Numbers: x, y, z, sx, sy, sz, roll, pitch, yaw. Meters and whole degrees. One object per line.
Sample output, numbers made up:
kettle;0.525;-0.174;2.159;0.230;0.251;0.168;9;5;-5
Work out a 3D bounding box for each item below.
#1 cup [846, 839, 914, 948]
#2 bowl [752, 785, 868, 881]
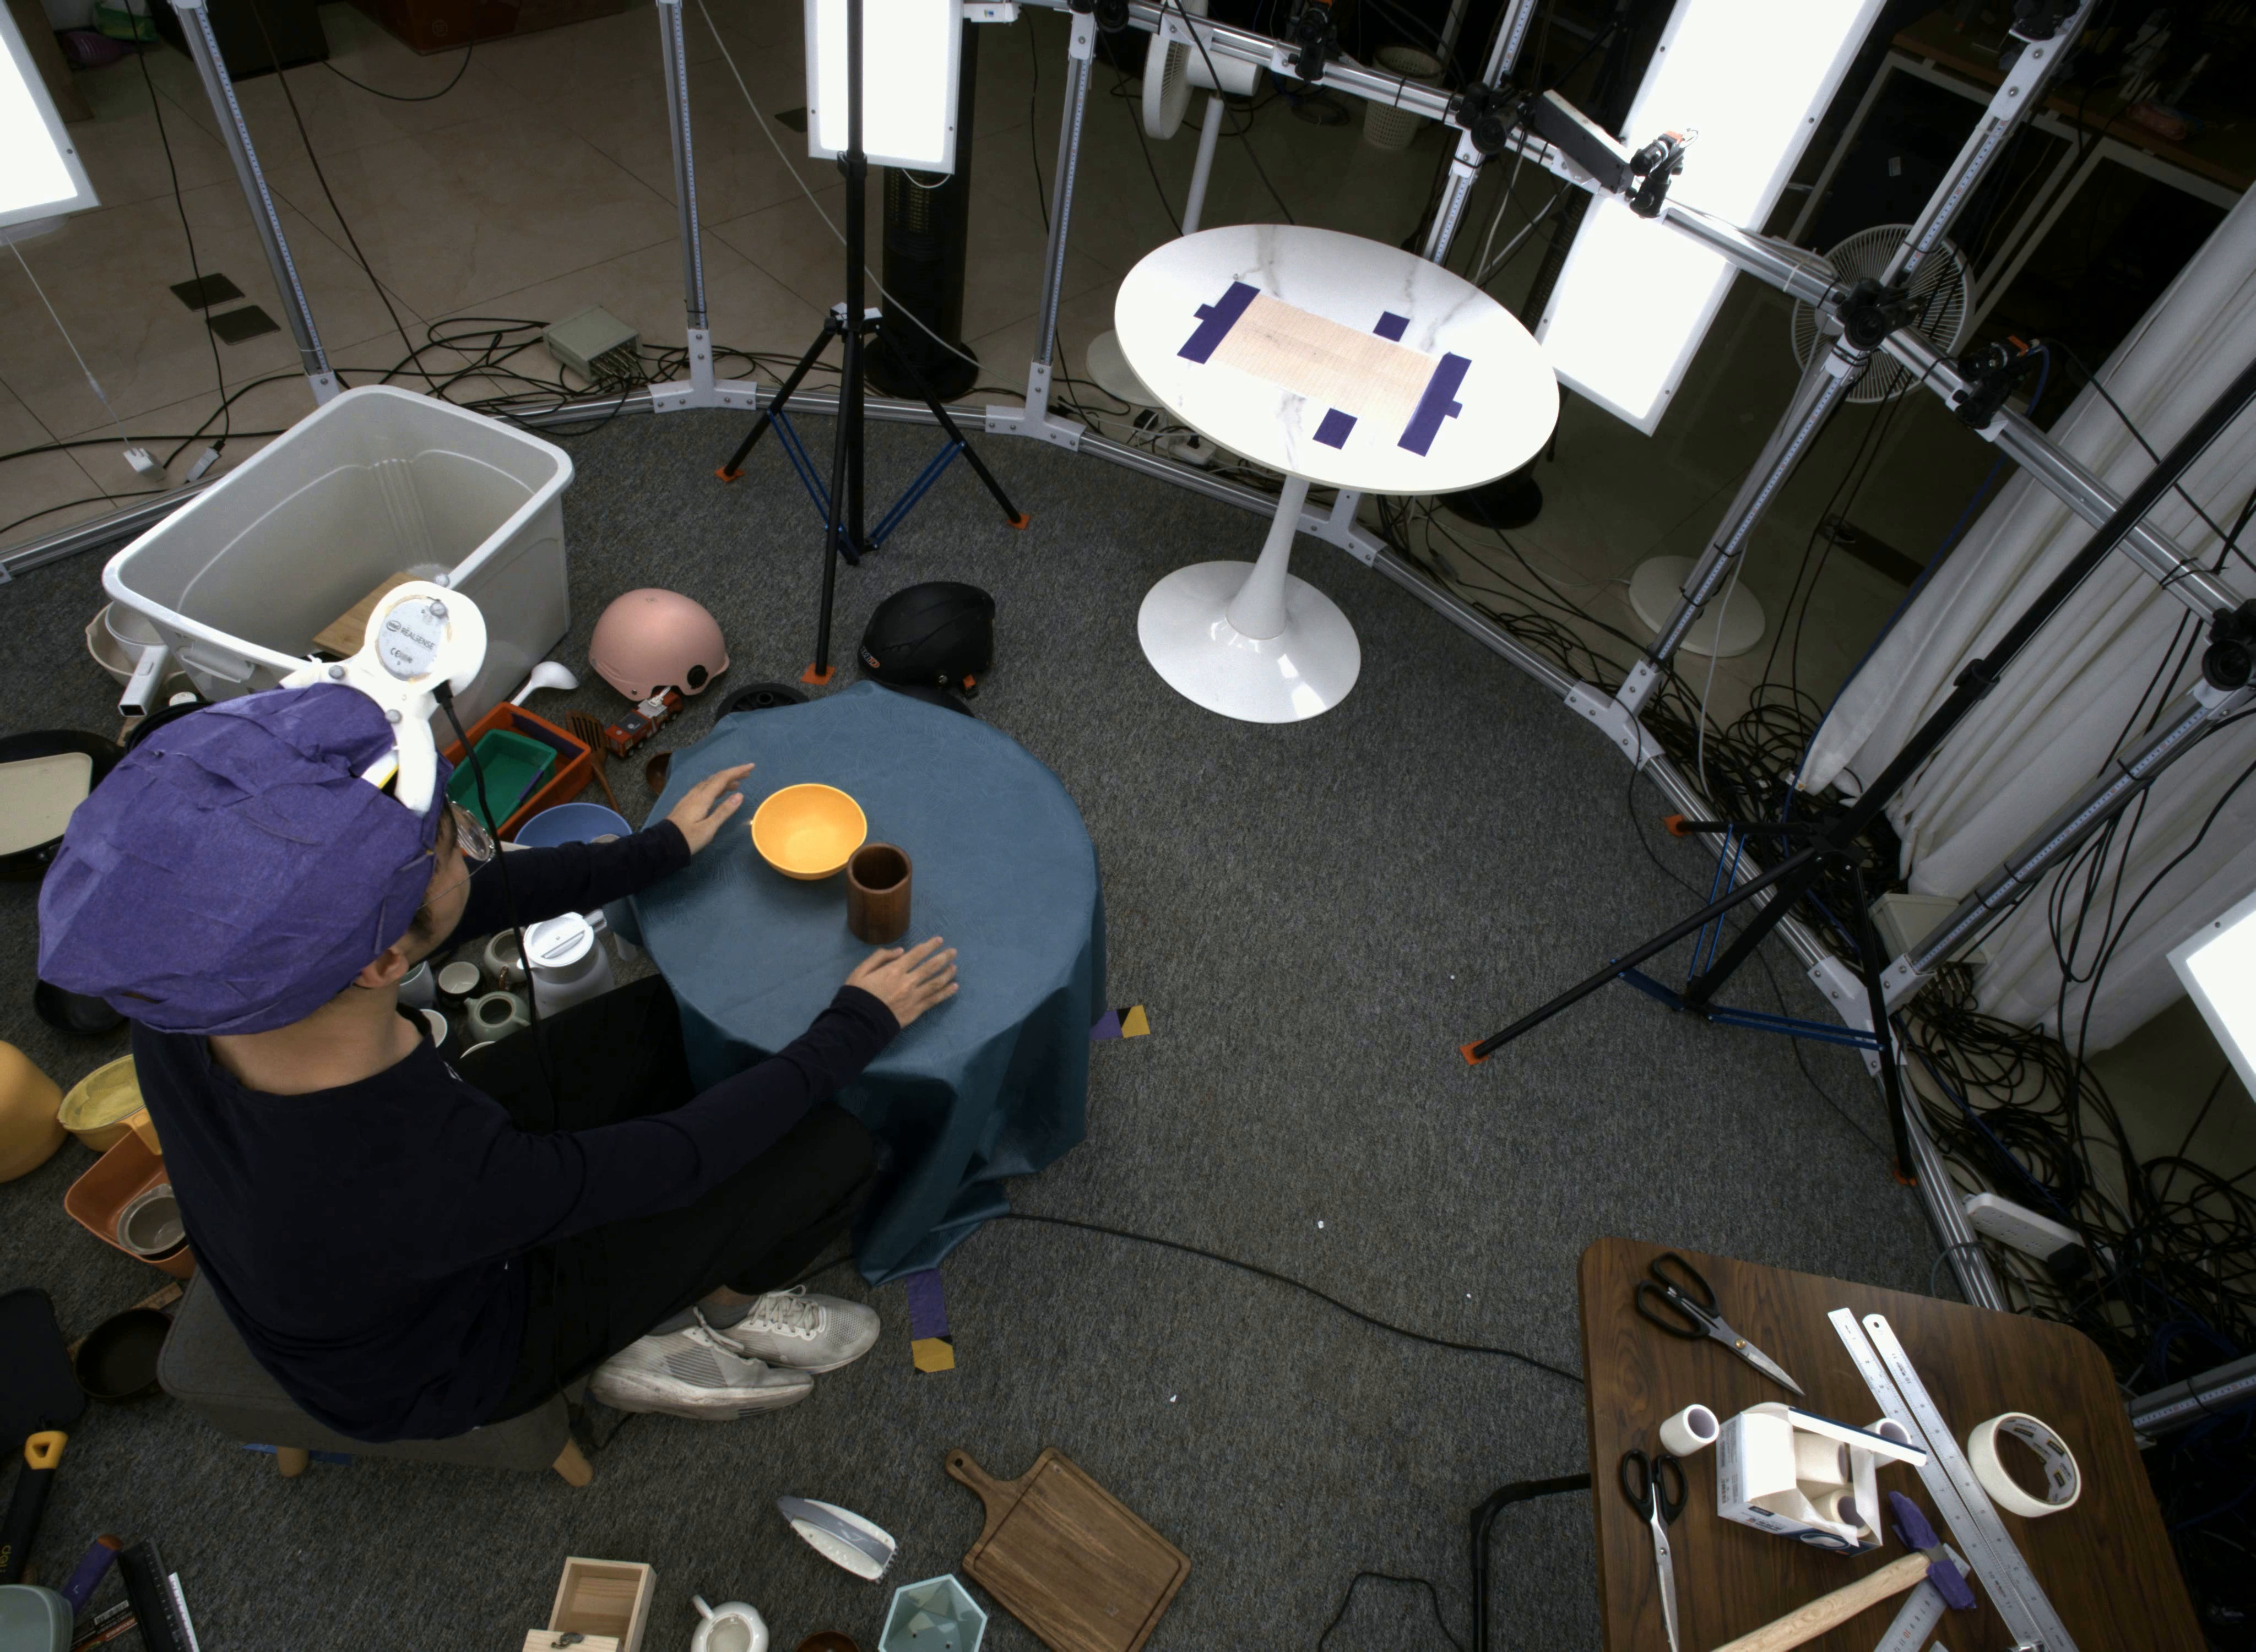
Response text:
cup;-0.307;0.084;1.616;0.087;0.121;0.086;5;50;-4
bowl;-0.409;0.019;1.677;0.145;0.061;0.143;7;53;-7
